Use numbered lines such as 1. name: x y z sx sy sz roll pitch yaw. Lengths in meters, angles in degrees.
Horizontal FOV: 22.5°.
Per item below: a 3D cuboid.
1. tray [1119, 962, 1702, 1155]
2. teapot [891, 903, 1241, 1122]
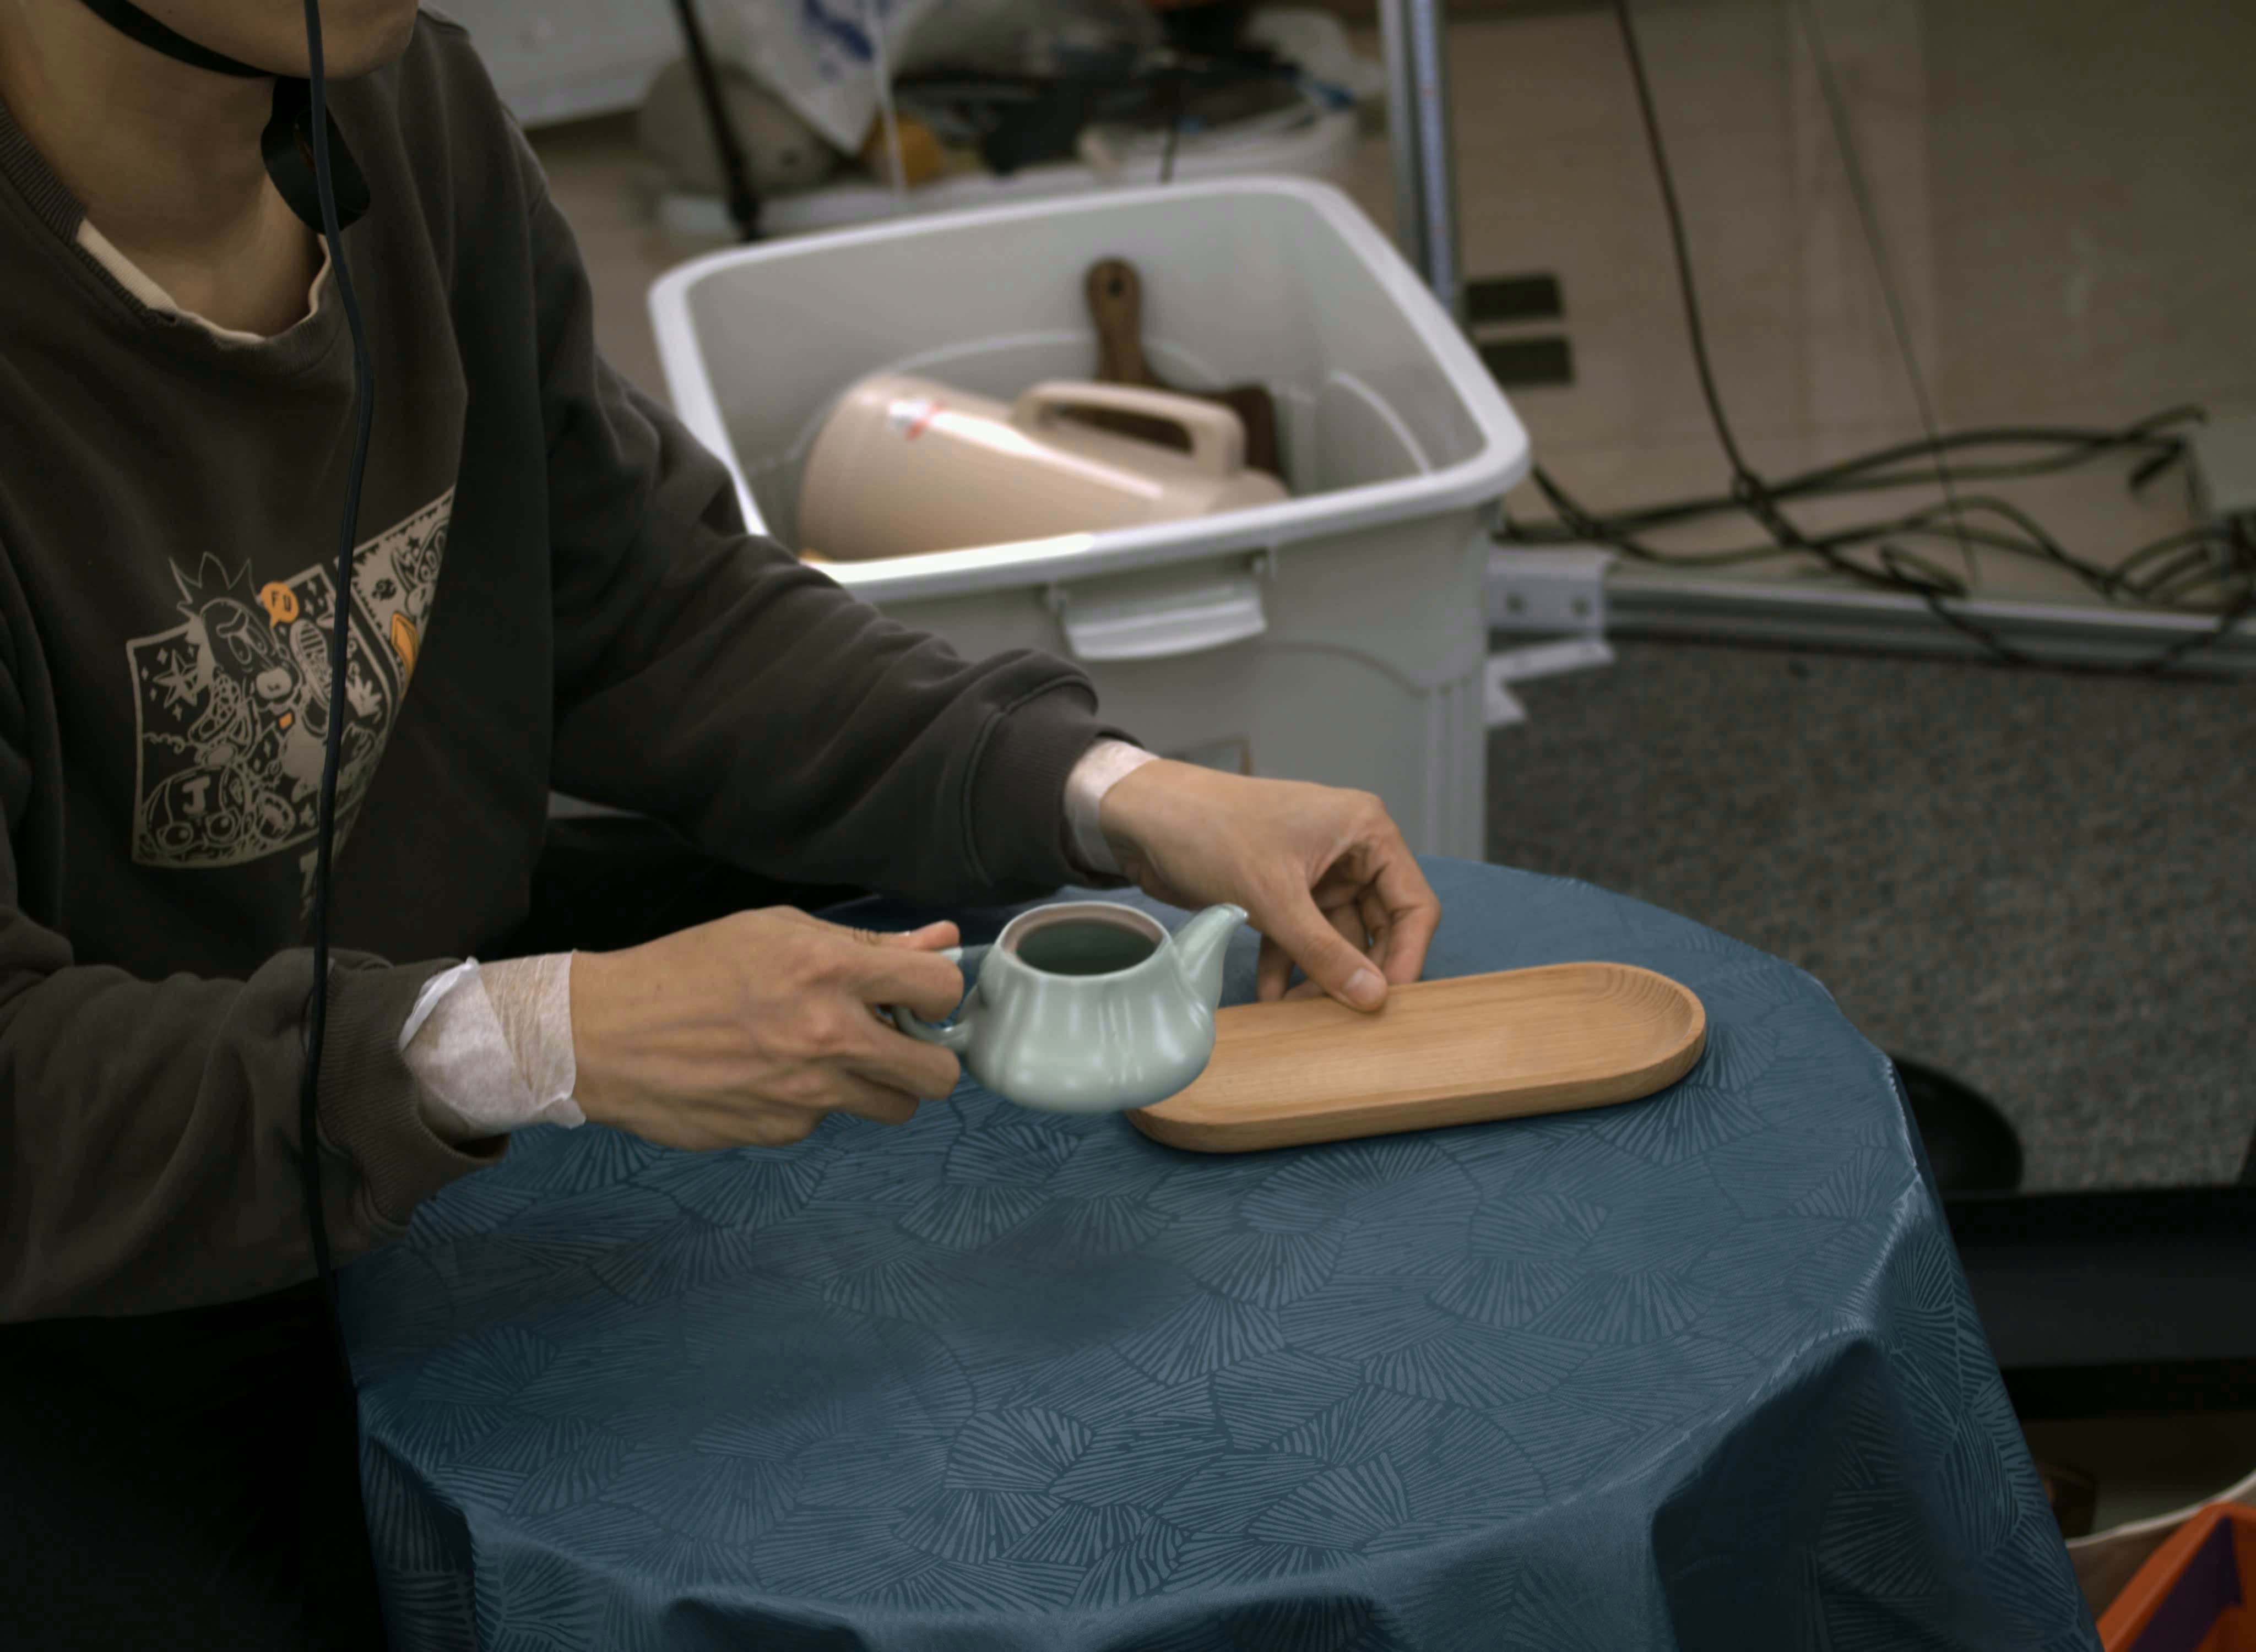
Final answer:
1. tray: 0.108 0.091 2.203 0.231 0.020 0.100 -9 25 -2
2. teapot: -0.022 0.067 2.060 0.136 0.062 0.095 -10 31 -20
